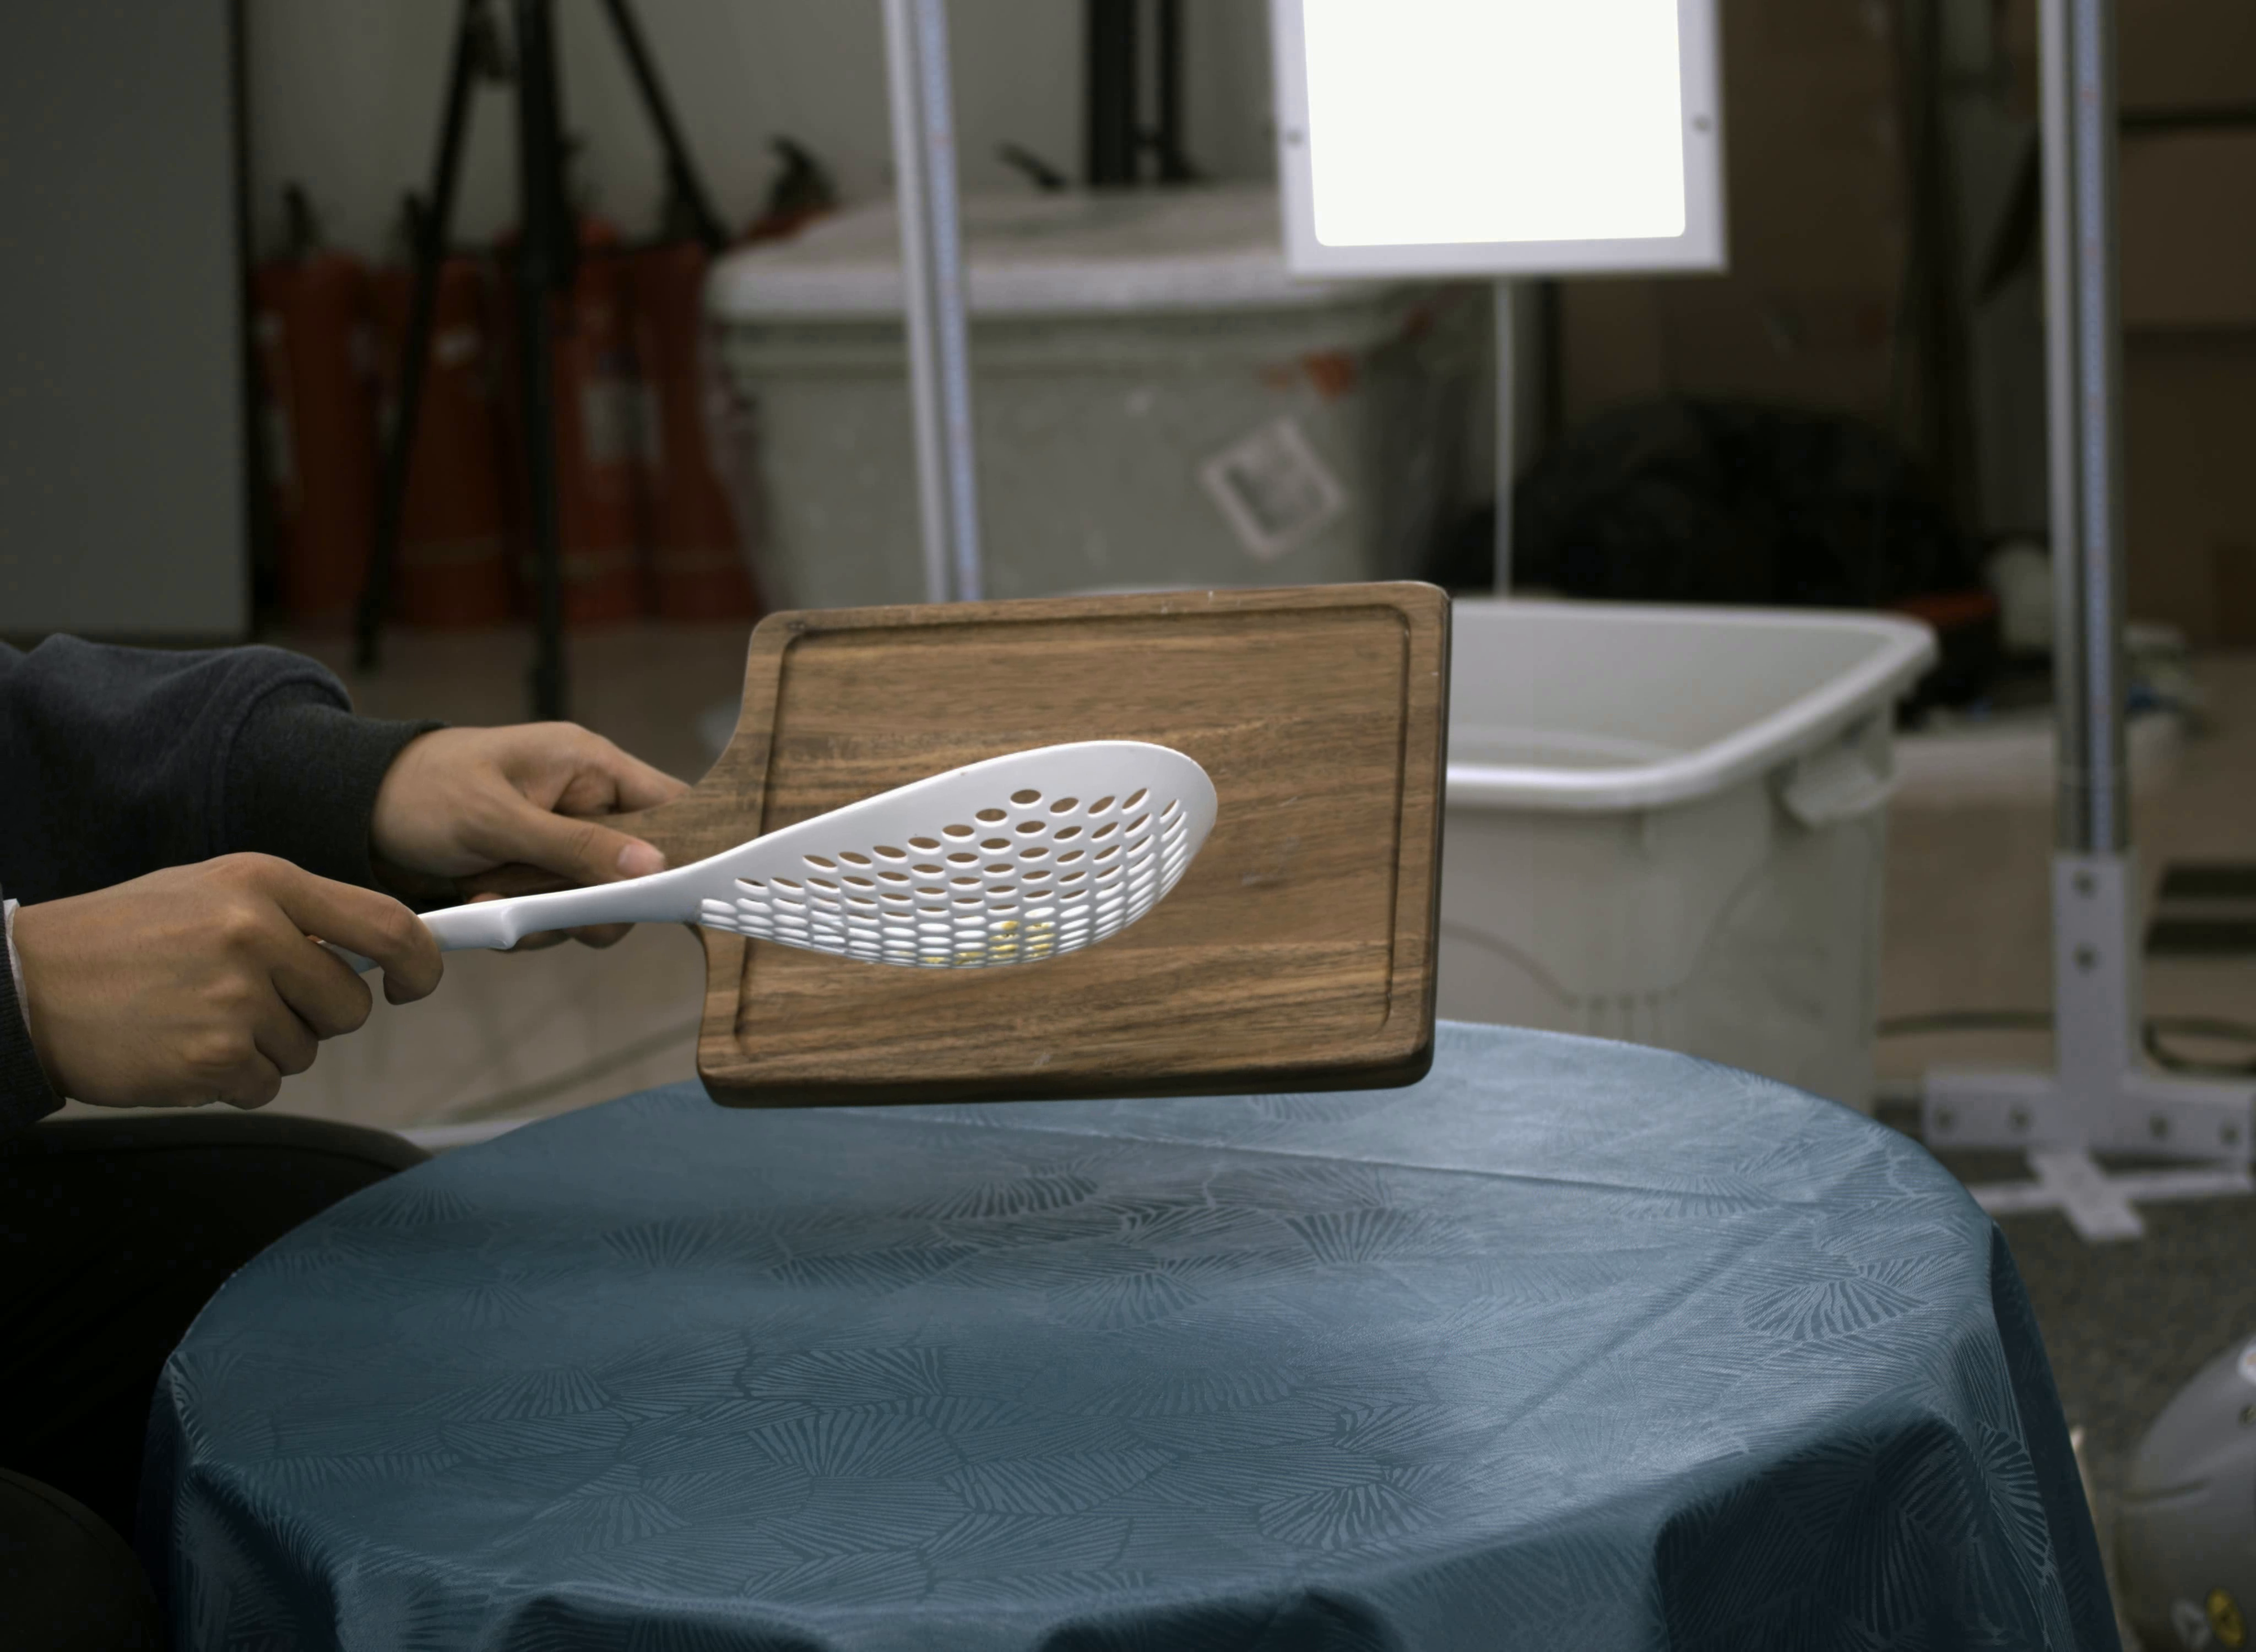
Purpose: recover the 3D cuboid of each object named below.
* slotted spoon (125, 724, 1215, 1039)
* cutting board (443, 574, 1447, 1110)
[{"bbox_3d":[-0.141,0.029,1.731,0.345,0.050,0.137,-5,-22,-5],"label":"slotted spoon"},{"bbox_3d":[-0.065,0.006,1.895,0.355,0.023,0.200,-3,56,13],"label":"cutting board"}]
